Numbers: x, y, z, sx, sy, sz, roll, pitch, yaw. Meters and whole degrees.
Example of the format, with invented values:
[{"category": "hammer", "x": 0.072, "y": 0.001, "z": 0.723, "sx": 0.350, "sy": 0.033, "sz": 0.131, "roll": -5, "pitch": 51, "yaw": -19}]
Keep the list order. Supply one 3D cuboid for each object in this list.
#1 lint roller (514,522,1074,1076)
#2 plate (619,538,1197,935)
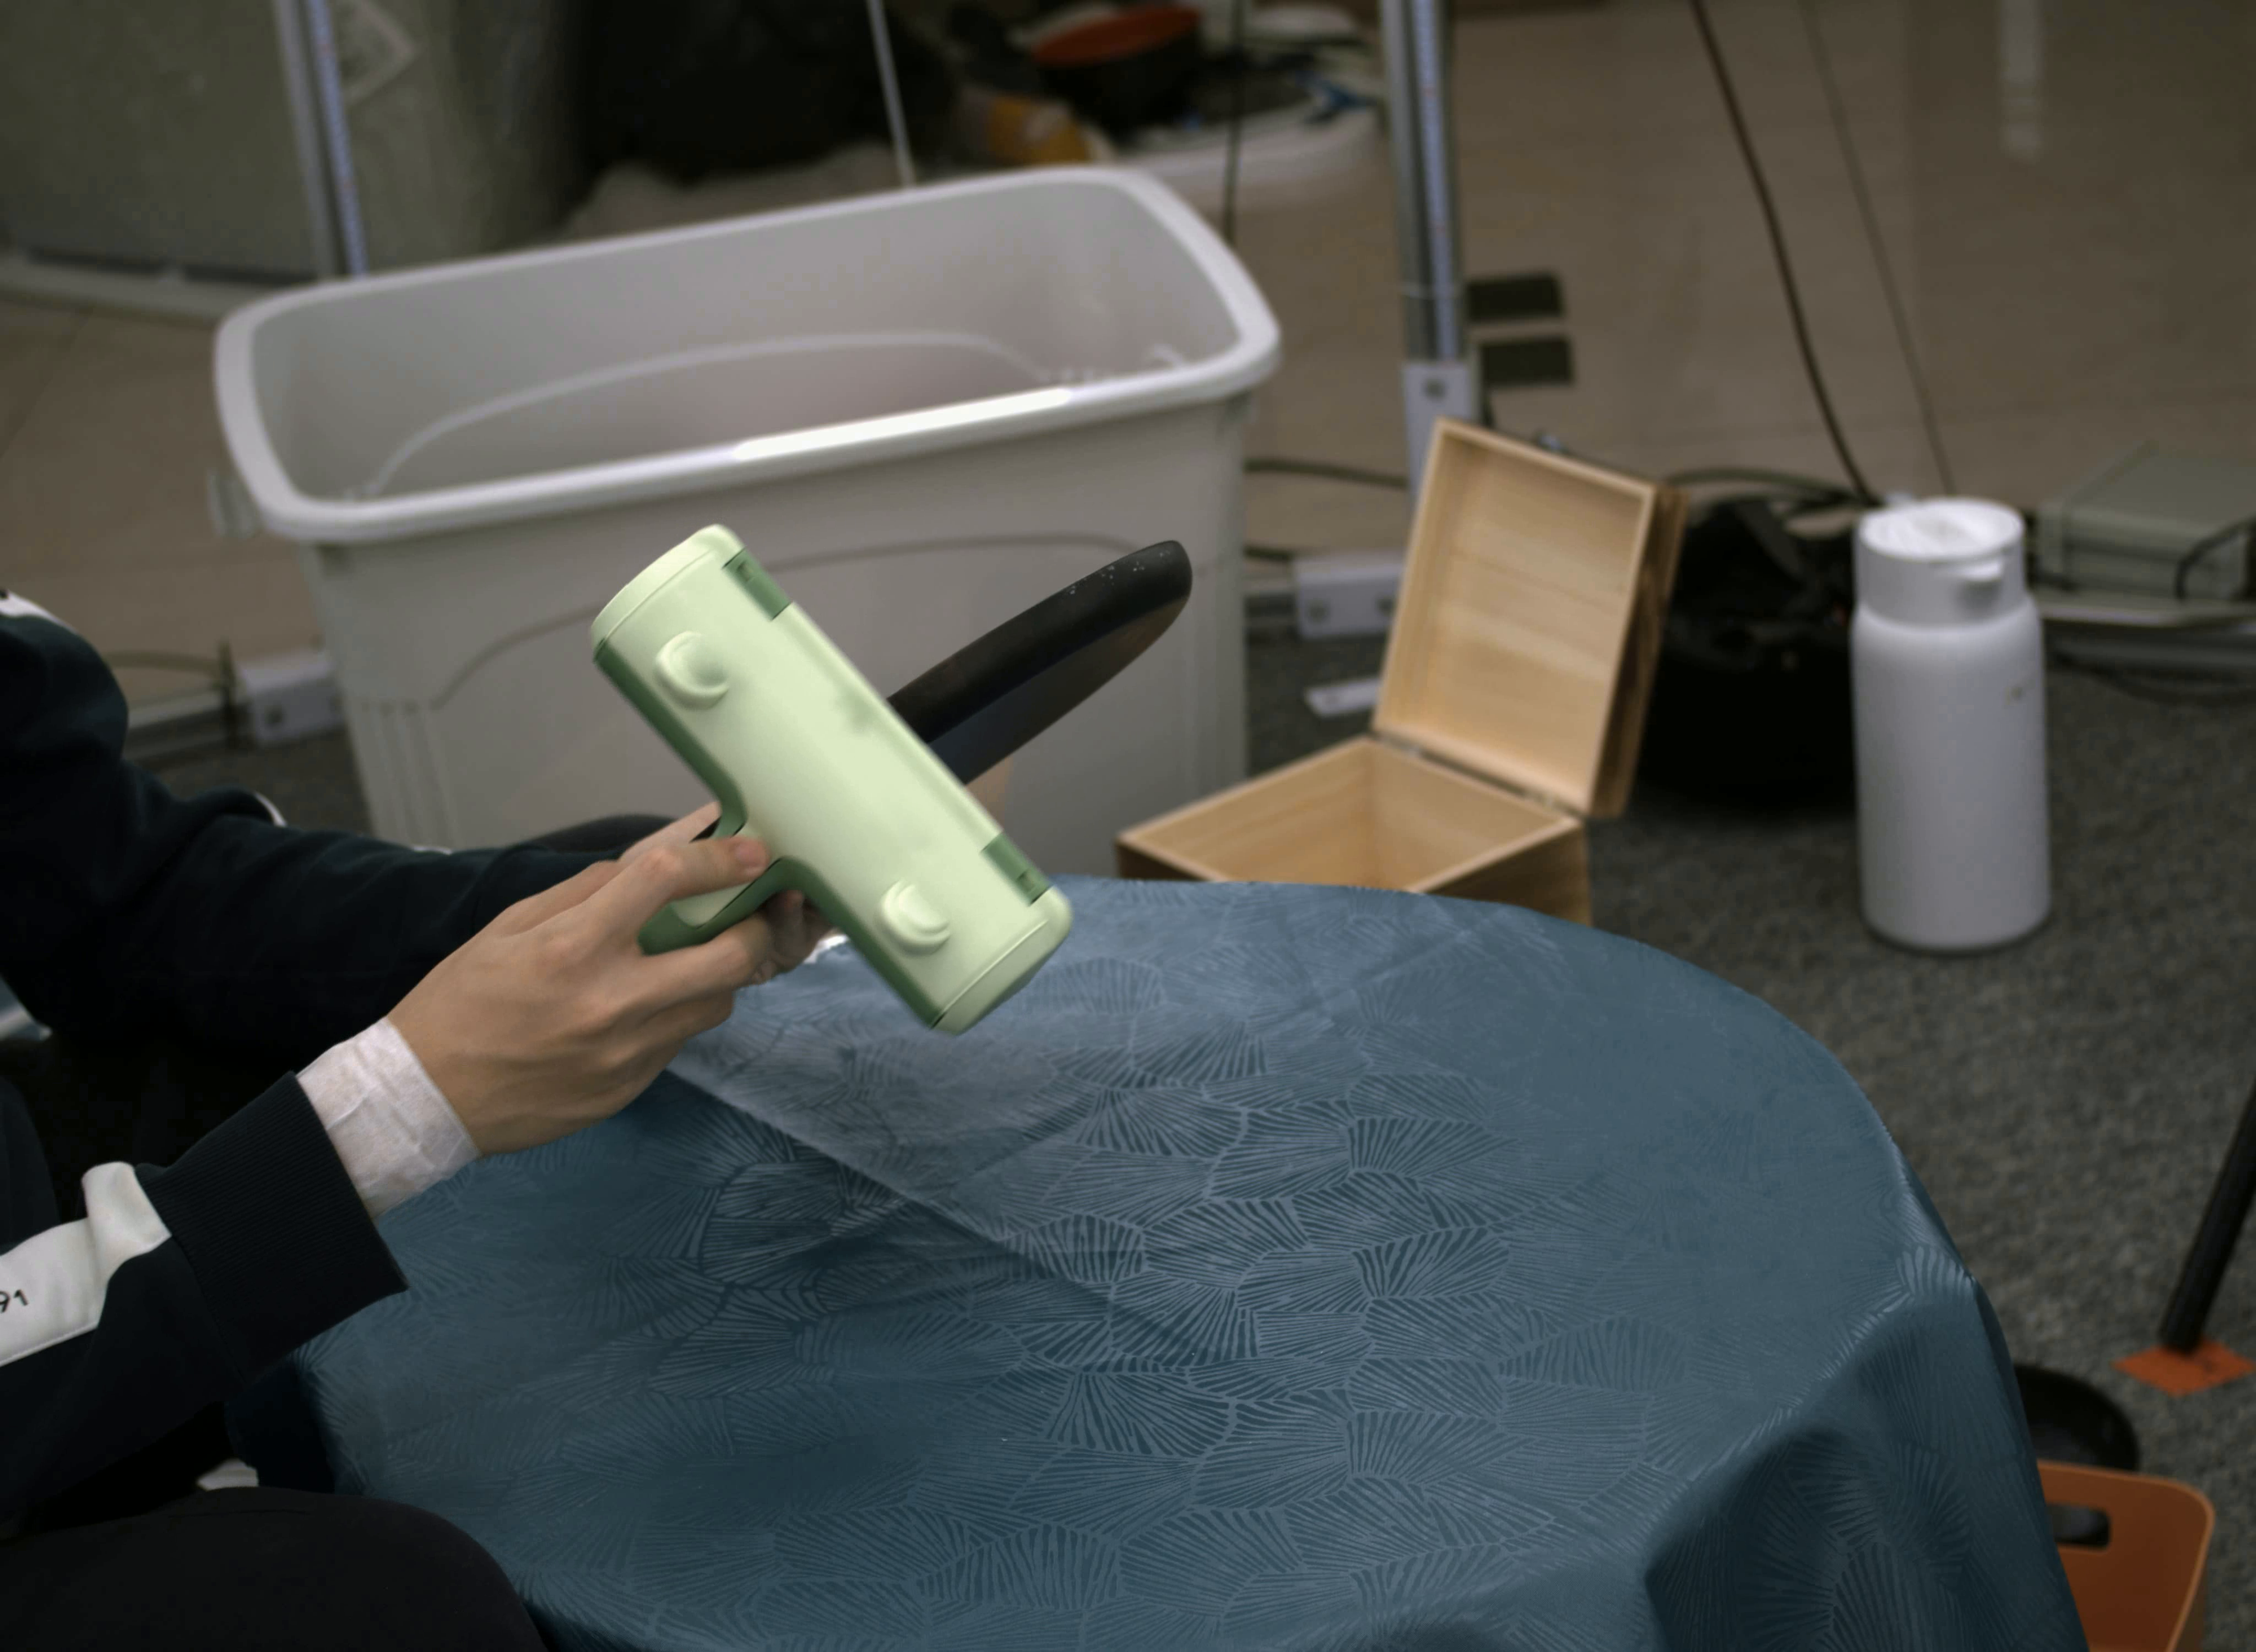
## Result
[{"category": "lint roller", "x": -0.148, "y": 0.022, "z": 1.980, "sx": 0.183, "sy": 0.198, "sz": 0.082, "roll": -42, "pitch": -2, "yaw": -1}, {"category": "plate", "x": -0.079, "y": -0.030, "z": 2.134, "sx": 0.254, "sy": 0.029, "sz": 0.255, "roll": -33, "pitch": -3, "yaw": -1}]
